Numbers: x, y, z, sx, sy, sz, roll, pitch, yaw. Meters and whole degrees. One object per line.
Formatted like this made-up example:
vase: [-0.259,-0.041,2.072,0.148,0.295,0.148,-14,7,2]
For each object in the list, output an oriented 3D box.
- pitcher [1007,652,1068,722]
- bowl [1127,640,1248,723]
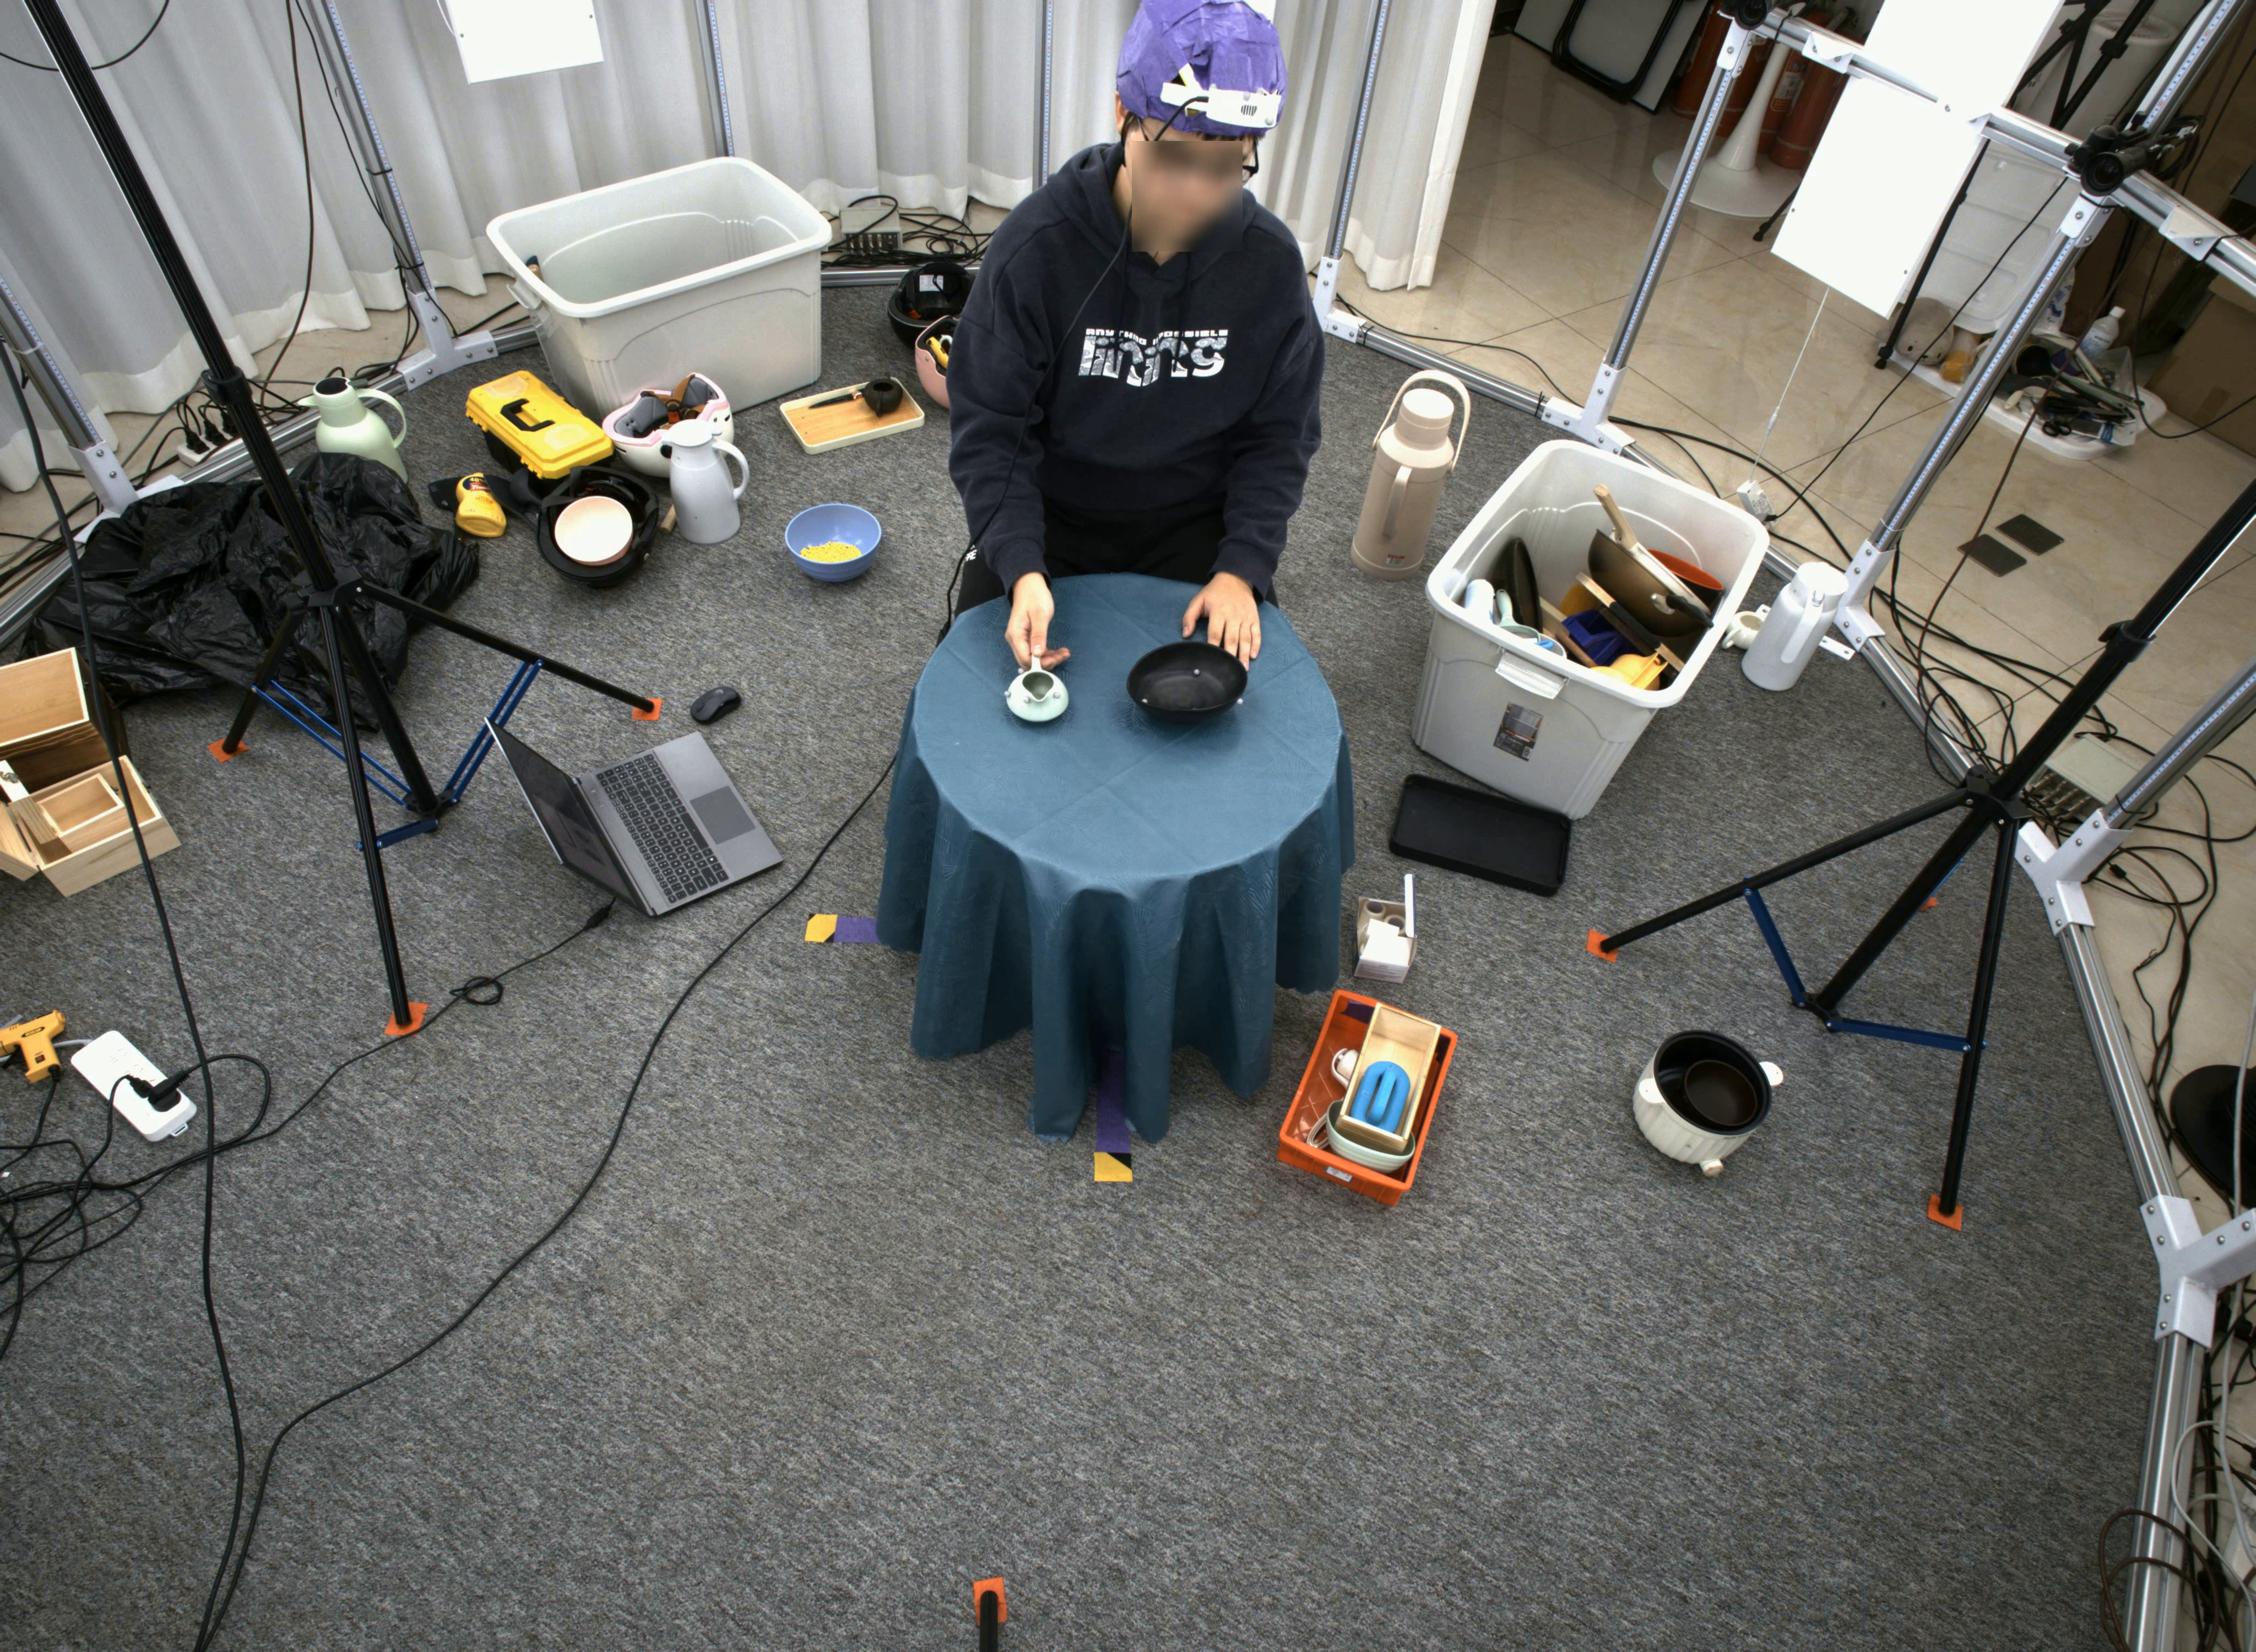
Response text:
pitcher: [-0.126,-0.191,1.786,0.086,0.059,0.111,-2,47,-8]
bowl: [0.083,-0.189,1.795,0.170,0.065,0.141,-10,50,-11]
